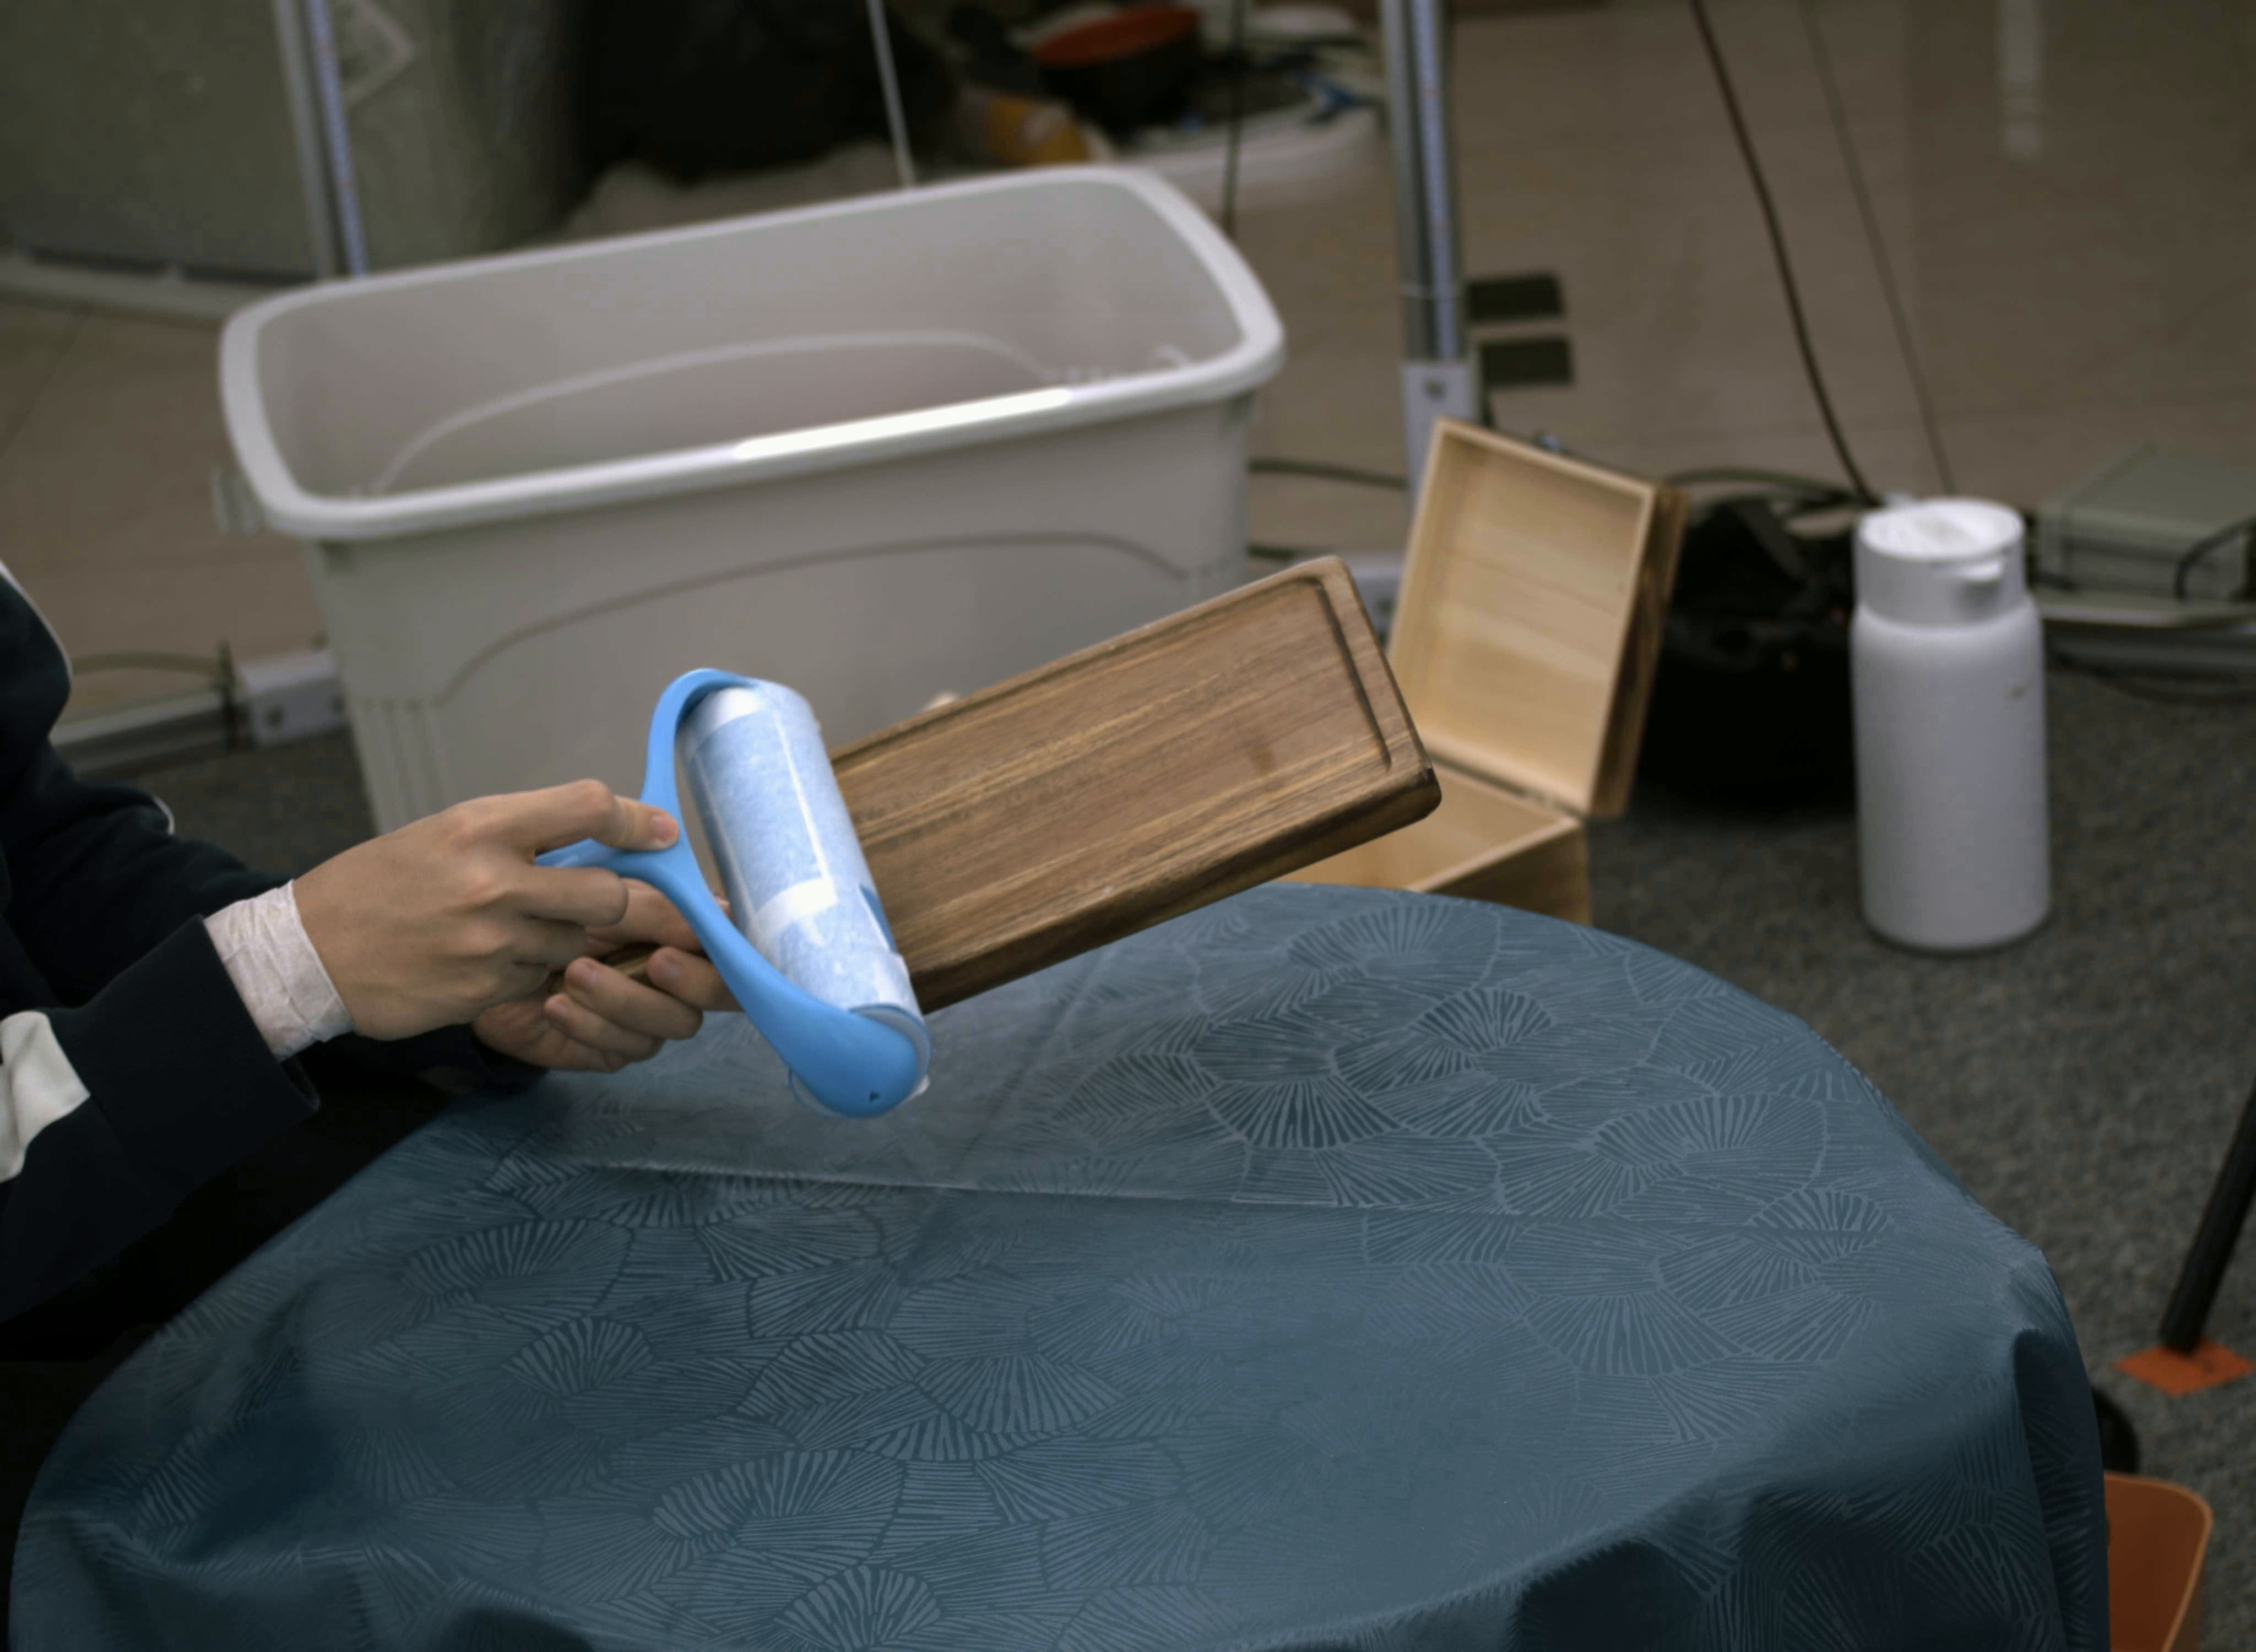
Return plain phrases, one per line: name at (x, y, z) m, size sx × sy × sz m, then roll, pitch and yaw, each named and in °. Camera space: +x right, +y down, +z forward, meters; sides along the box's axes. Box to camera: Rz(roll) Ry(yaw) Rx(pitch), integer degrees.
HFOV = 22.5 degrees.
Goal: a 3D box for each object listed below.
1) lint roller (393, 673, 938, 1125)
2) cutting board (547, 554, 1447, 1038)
lint roller at (-0.176, 0.031, 2.065) m, size 0.180 × 0.069 × 0.225 m, roll -6°, pitch 43°, yaw -20°
cutting board at (-0.059, 0.004, 2.186) m, size 0.352 × 0.023 × 0.198 m, roll -22°, pitch 29°, yaw 3°
